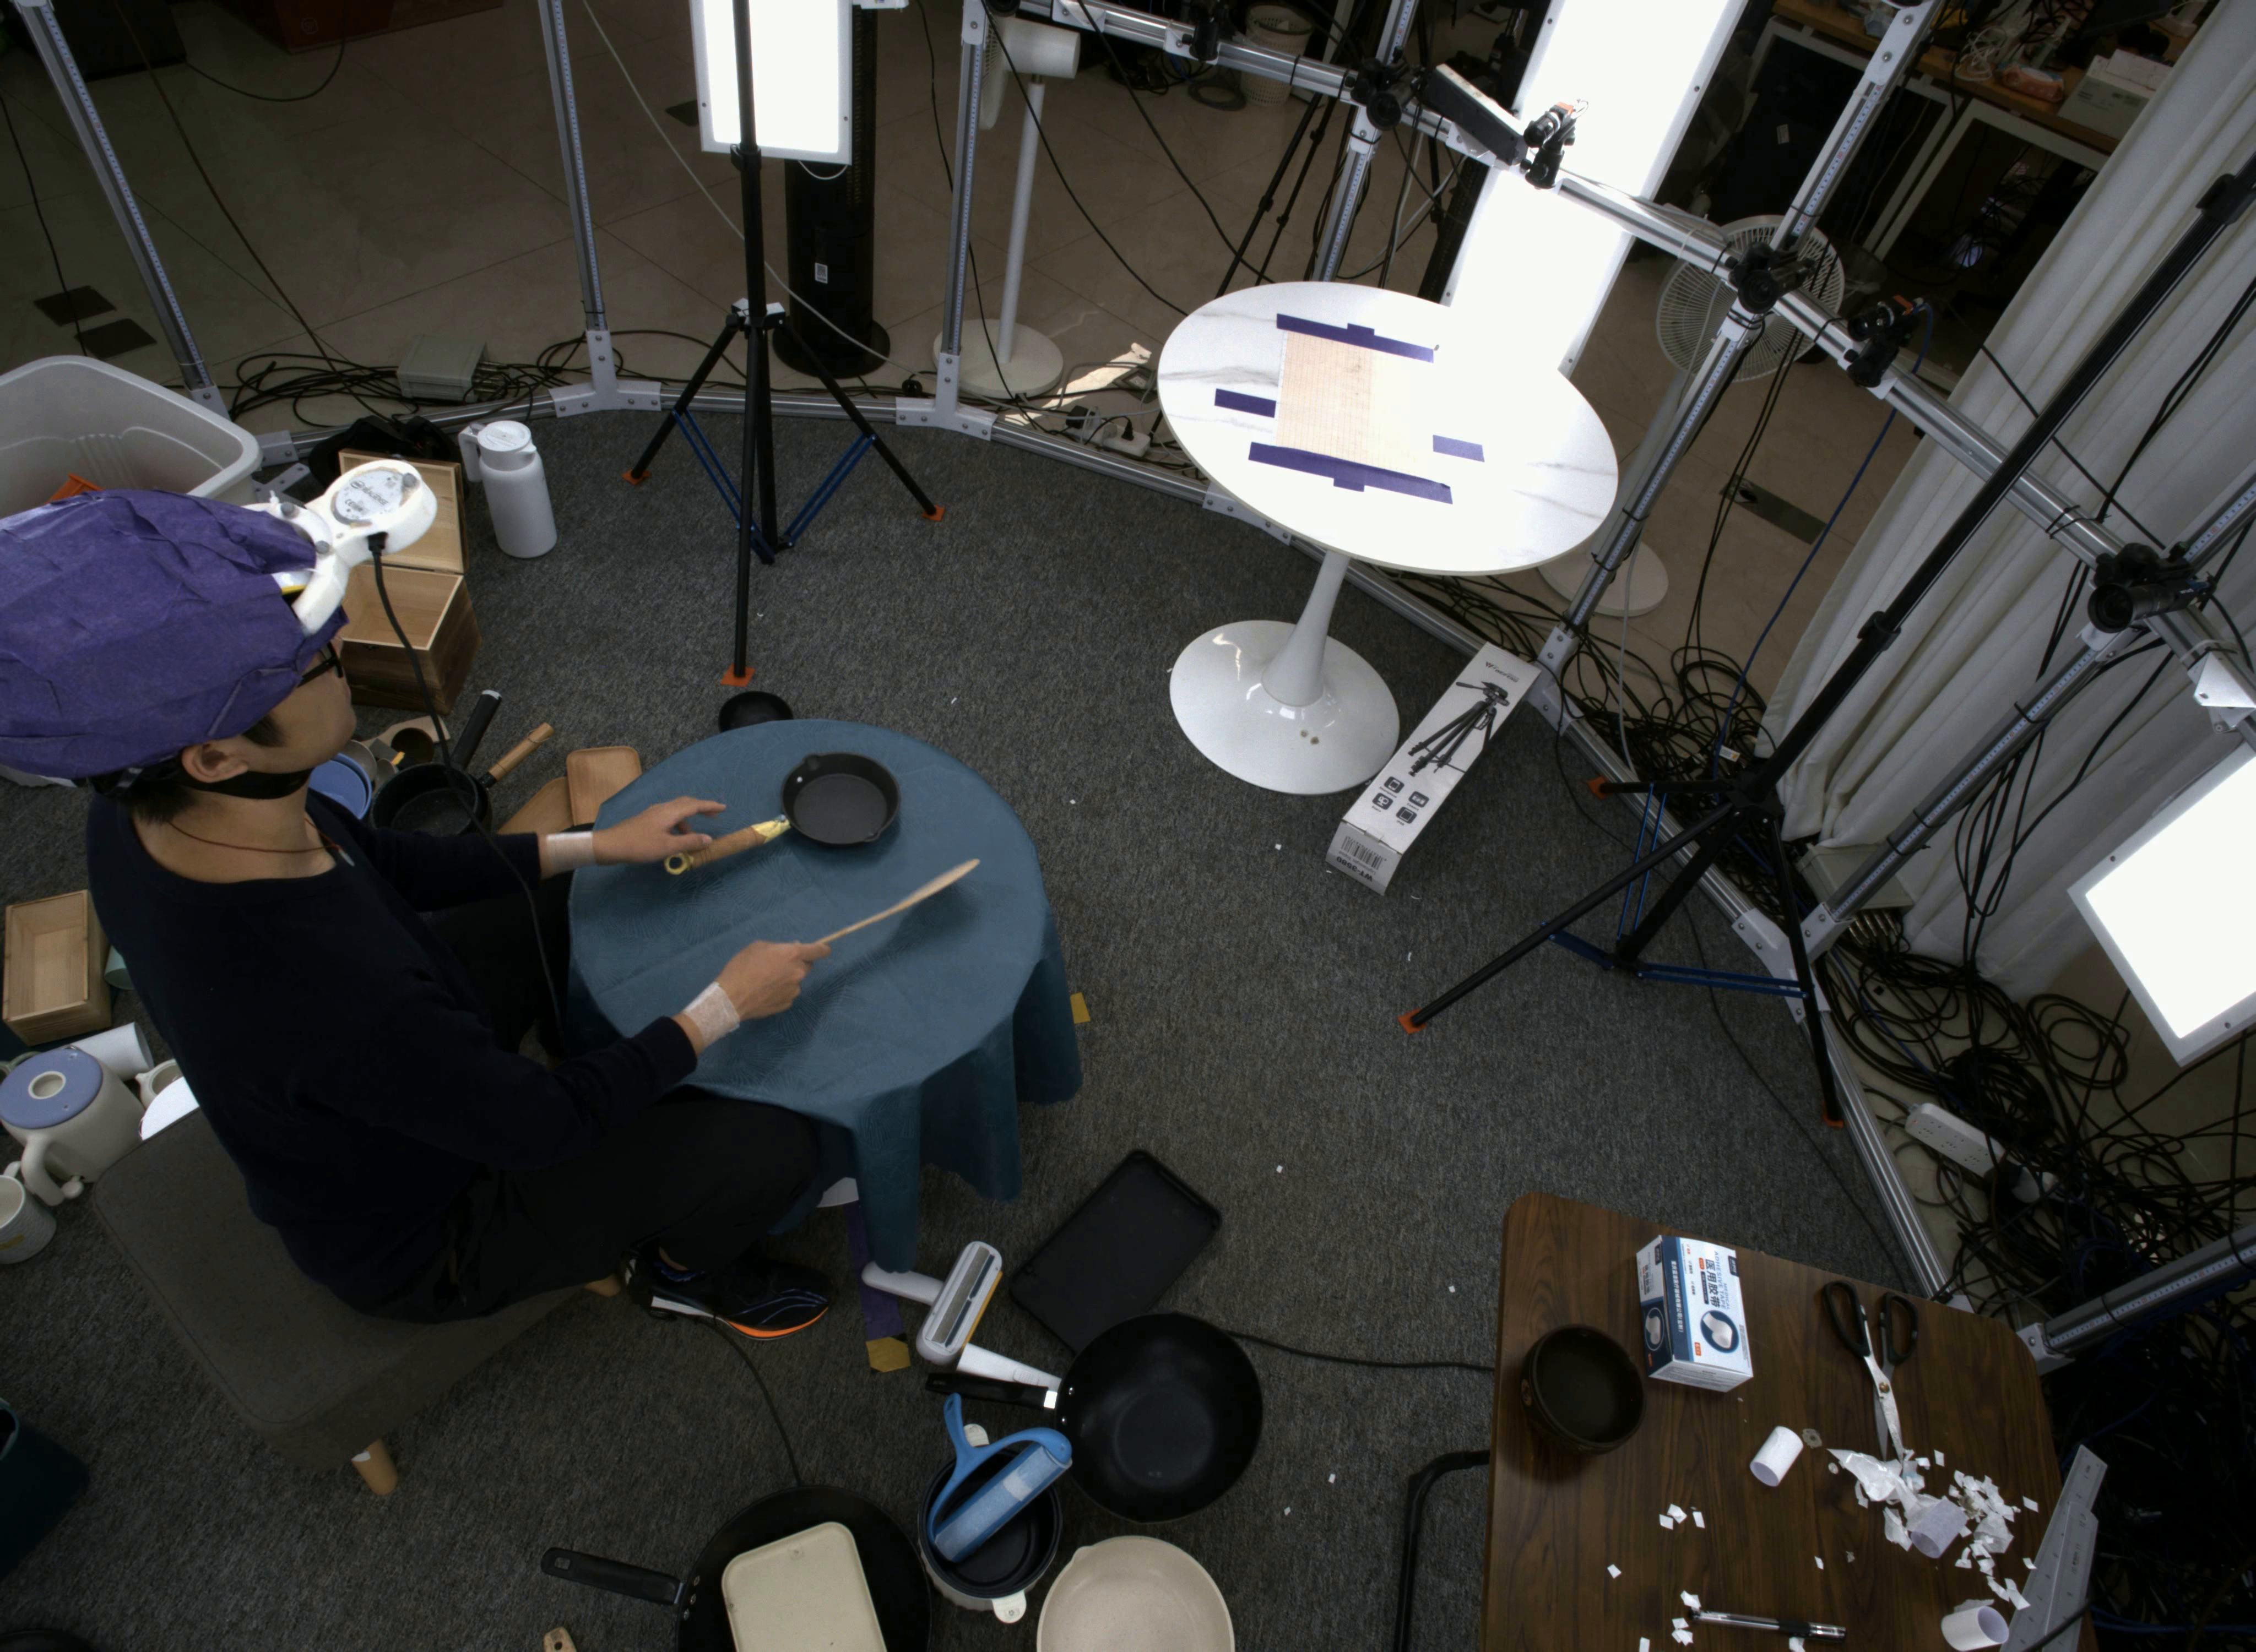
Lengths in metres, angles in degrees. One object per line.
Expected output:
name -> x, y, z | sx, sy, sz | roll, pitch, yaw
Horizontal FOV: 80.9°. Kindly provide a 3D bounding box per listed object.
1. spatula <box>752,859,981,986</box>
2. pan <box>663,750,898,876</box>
spatula -> -0.318, 0.116, 1.590 | 0.329, 0.078, 0.017 | -27, 92, -37
pan -> -0.450, -0.004, 1.677 | 0.326, 0.050, 0.165 | -25, 63, -31
